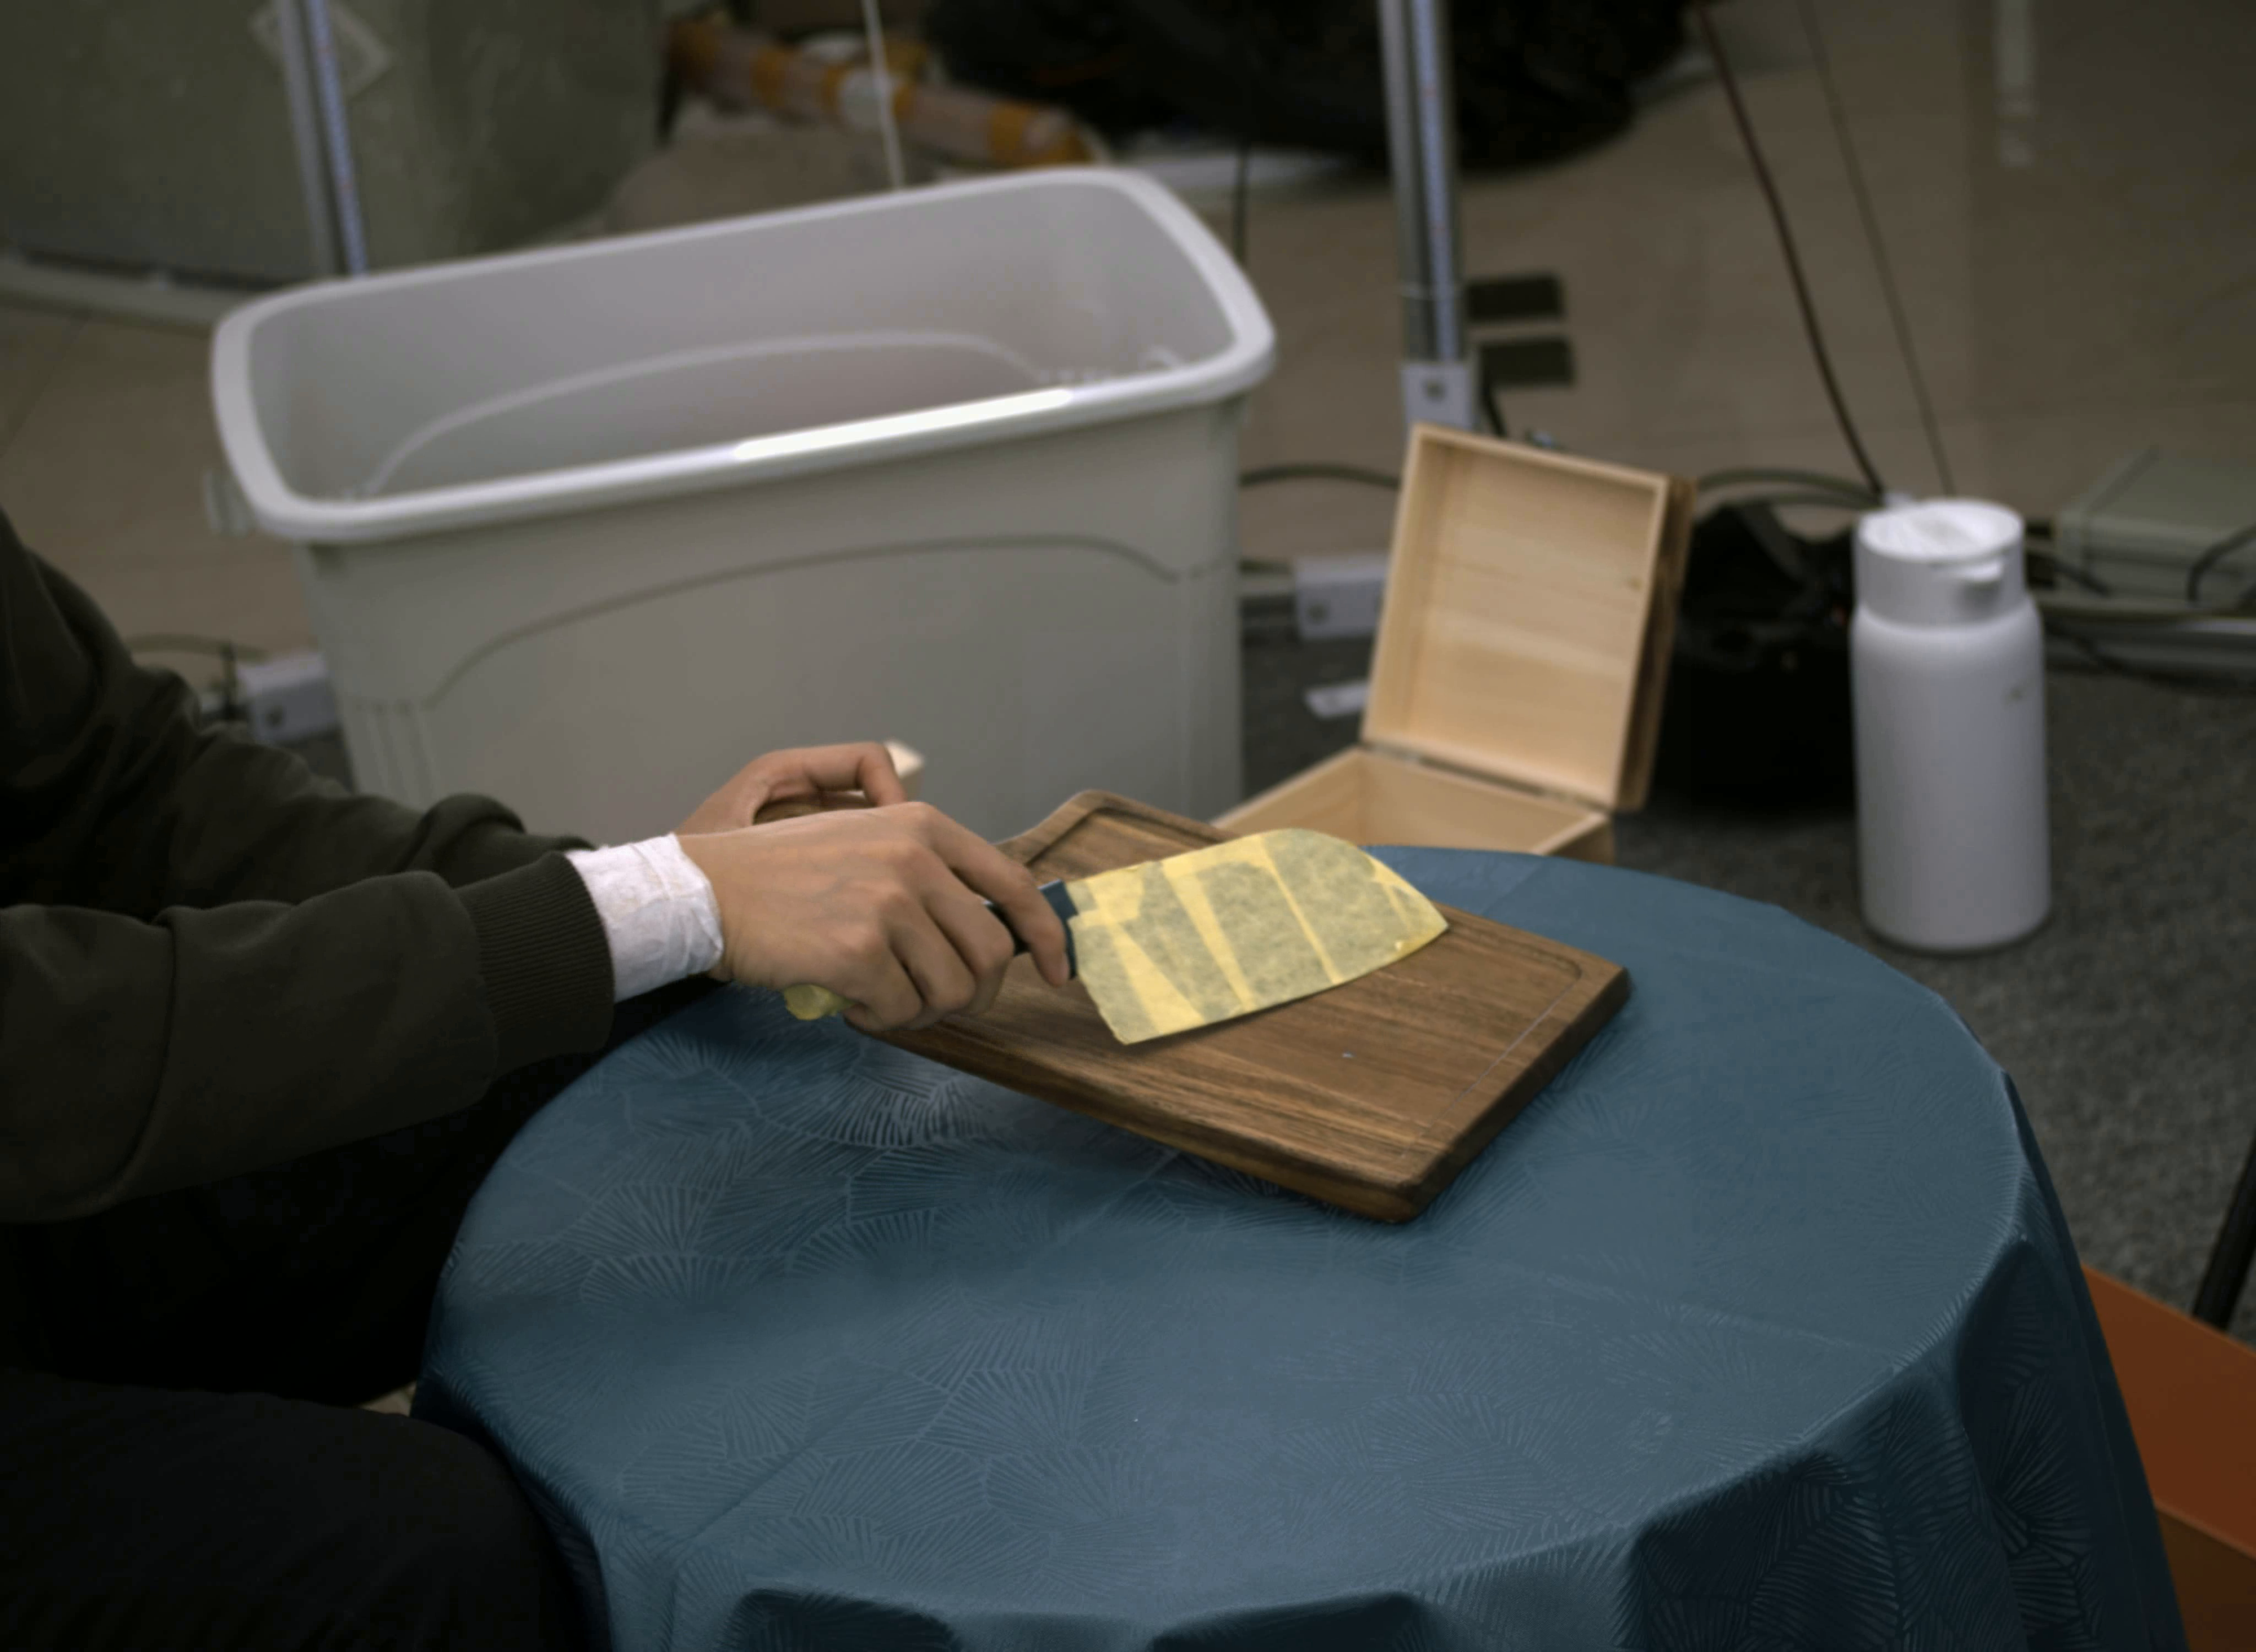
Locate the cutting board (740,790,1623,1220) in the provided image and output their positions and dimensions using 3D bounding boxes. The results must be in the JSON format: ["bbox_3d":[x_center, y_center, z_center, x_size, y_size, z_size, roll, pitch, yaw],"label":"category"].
[{"bbox_3d":[0.000,0.051,2.237,0.350,0.023,0.198,18,33,23],"label":"cutting board"}]

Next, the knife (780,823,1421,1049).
[{"bbox_3d":[-0.004,0.049,2.184,0.288,0.027,0.080,-13,62,-32],"label":"knife"}]
